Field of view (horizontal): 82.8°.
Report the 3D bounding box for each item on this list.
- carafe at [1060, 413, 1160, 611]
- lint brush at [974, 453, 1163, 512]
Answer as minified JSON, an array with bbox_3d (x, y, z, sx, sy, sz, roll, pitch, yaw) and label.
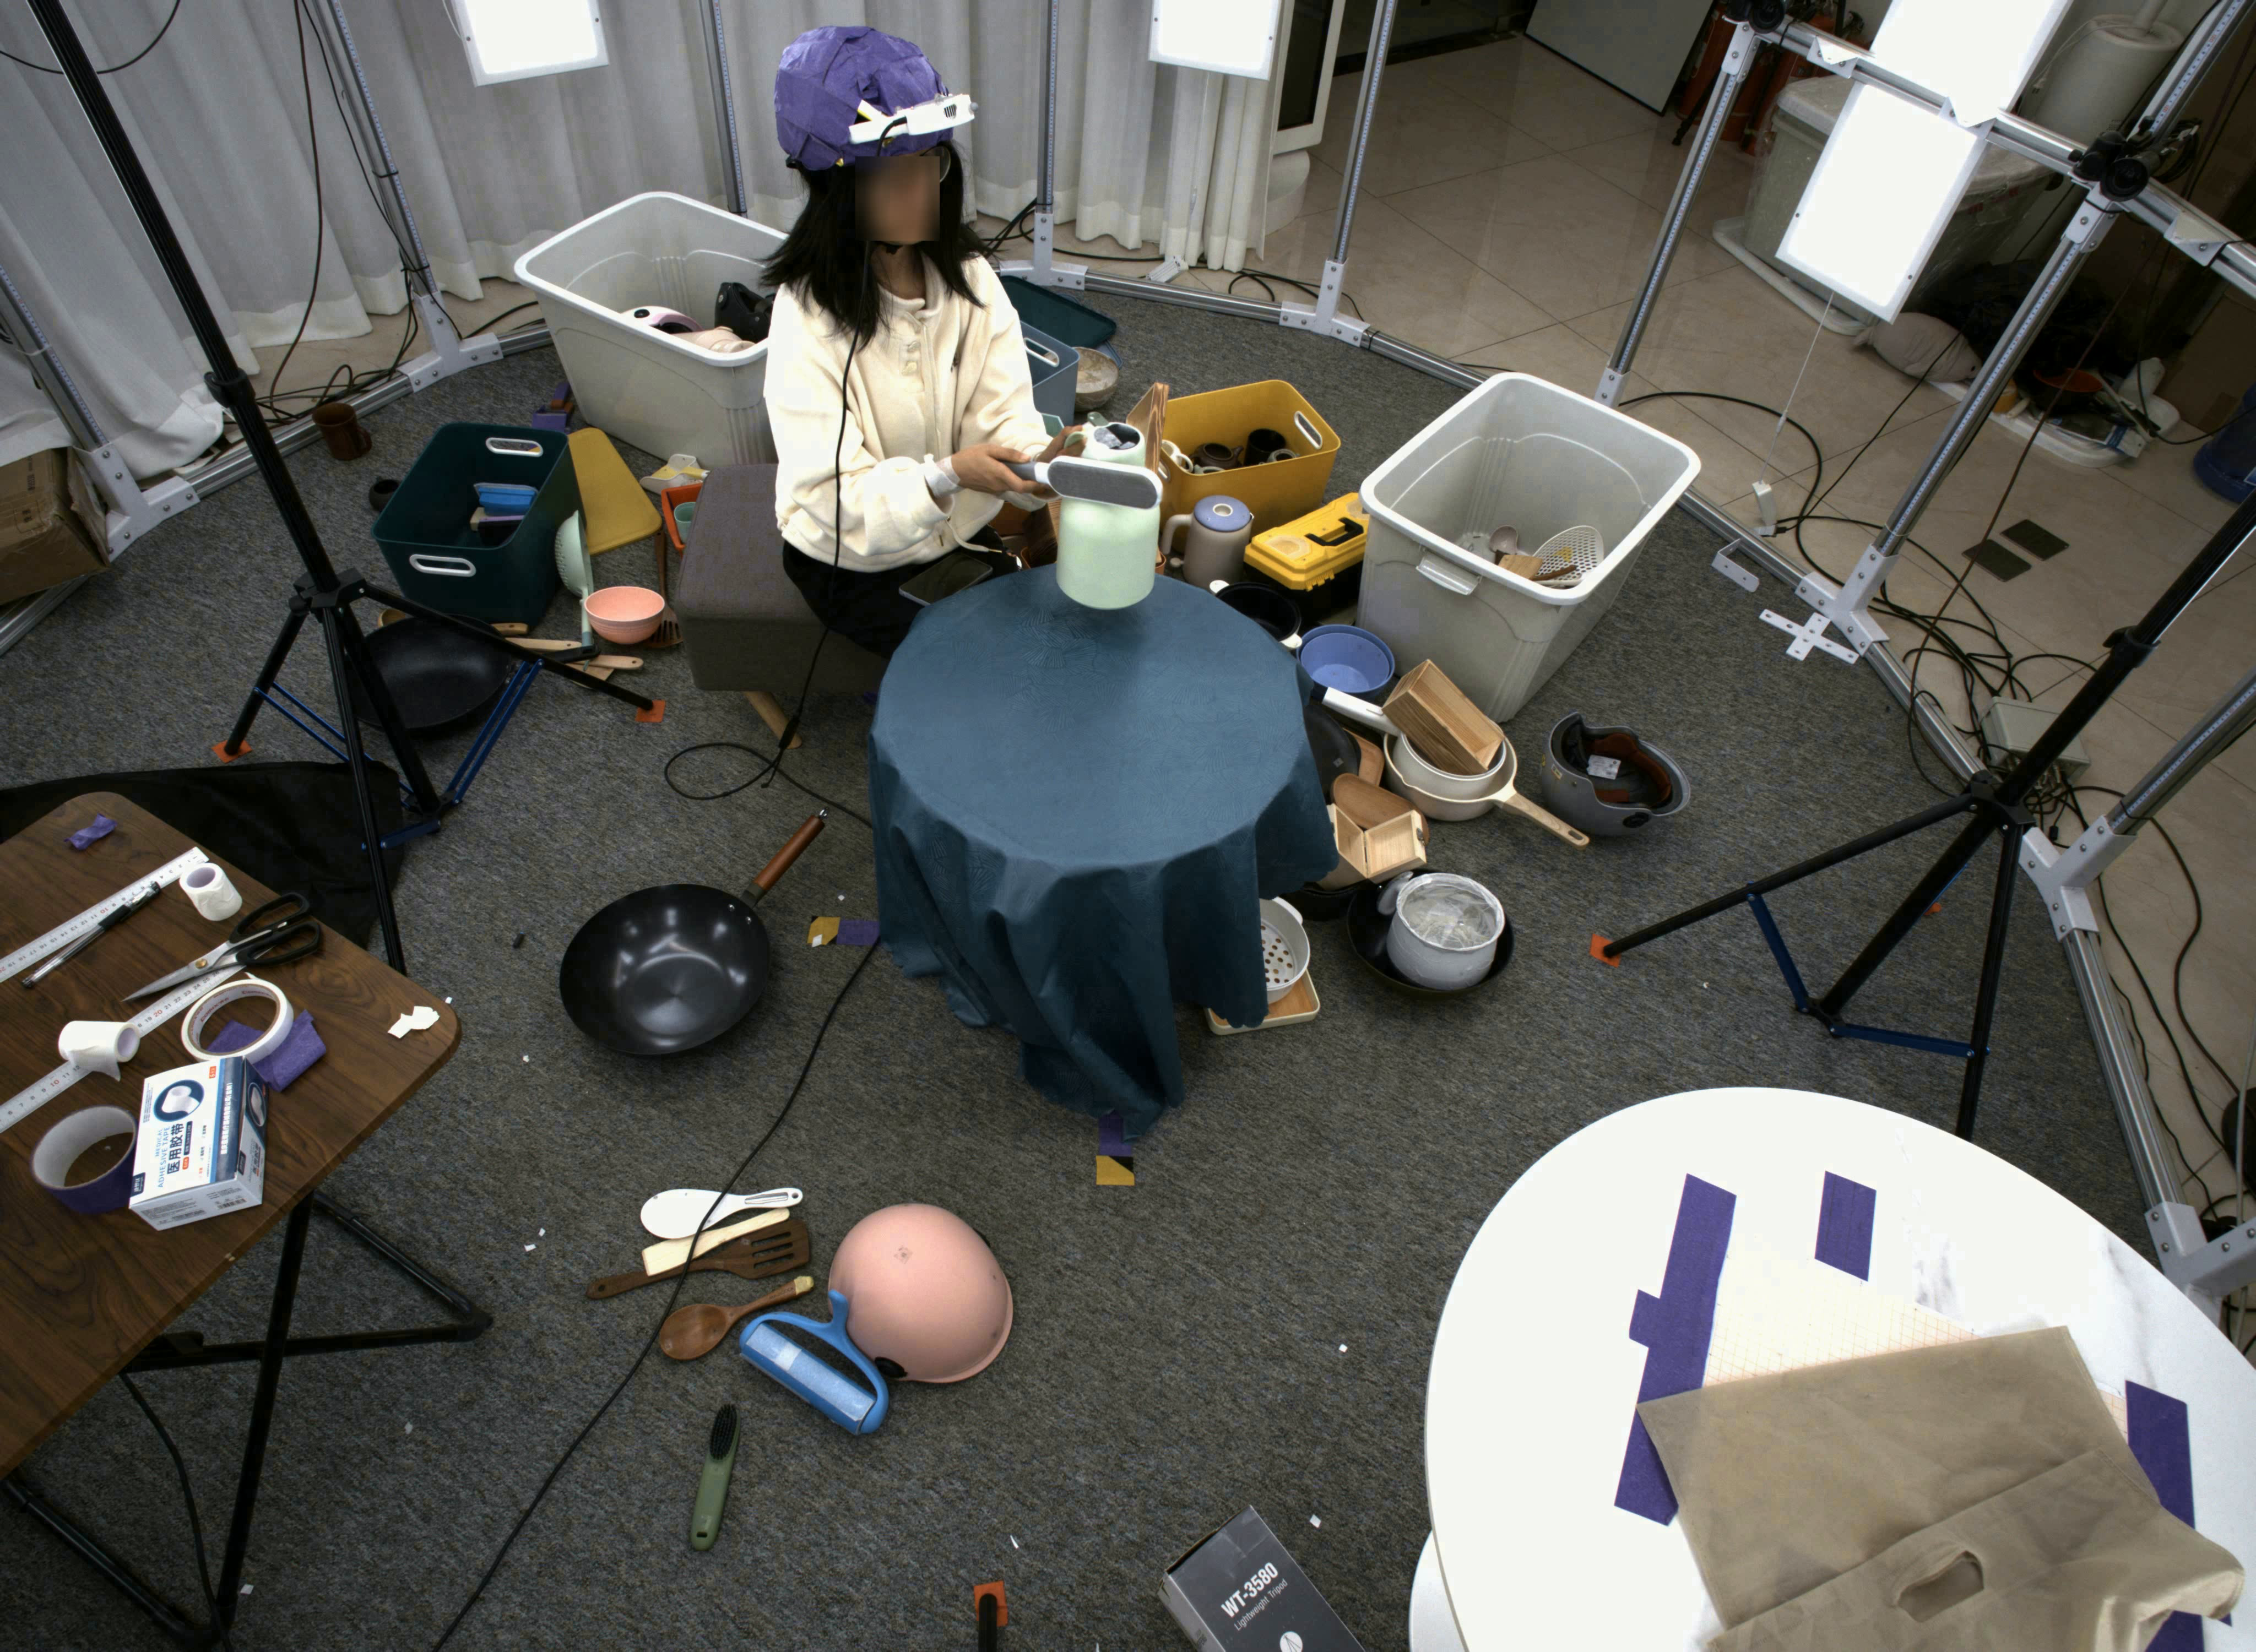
[{"bbox_3d":[-0.032,-0.450,1.833,0.145,0.250,0.191,-23,50,-22],"label":"carafe"},{"bbox_3d":[-0.085,-0.475,1.753,0.312,0.058,0.021,18,45,29],"label":"lint brush"}]
